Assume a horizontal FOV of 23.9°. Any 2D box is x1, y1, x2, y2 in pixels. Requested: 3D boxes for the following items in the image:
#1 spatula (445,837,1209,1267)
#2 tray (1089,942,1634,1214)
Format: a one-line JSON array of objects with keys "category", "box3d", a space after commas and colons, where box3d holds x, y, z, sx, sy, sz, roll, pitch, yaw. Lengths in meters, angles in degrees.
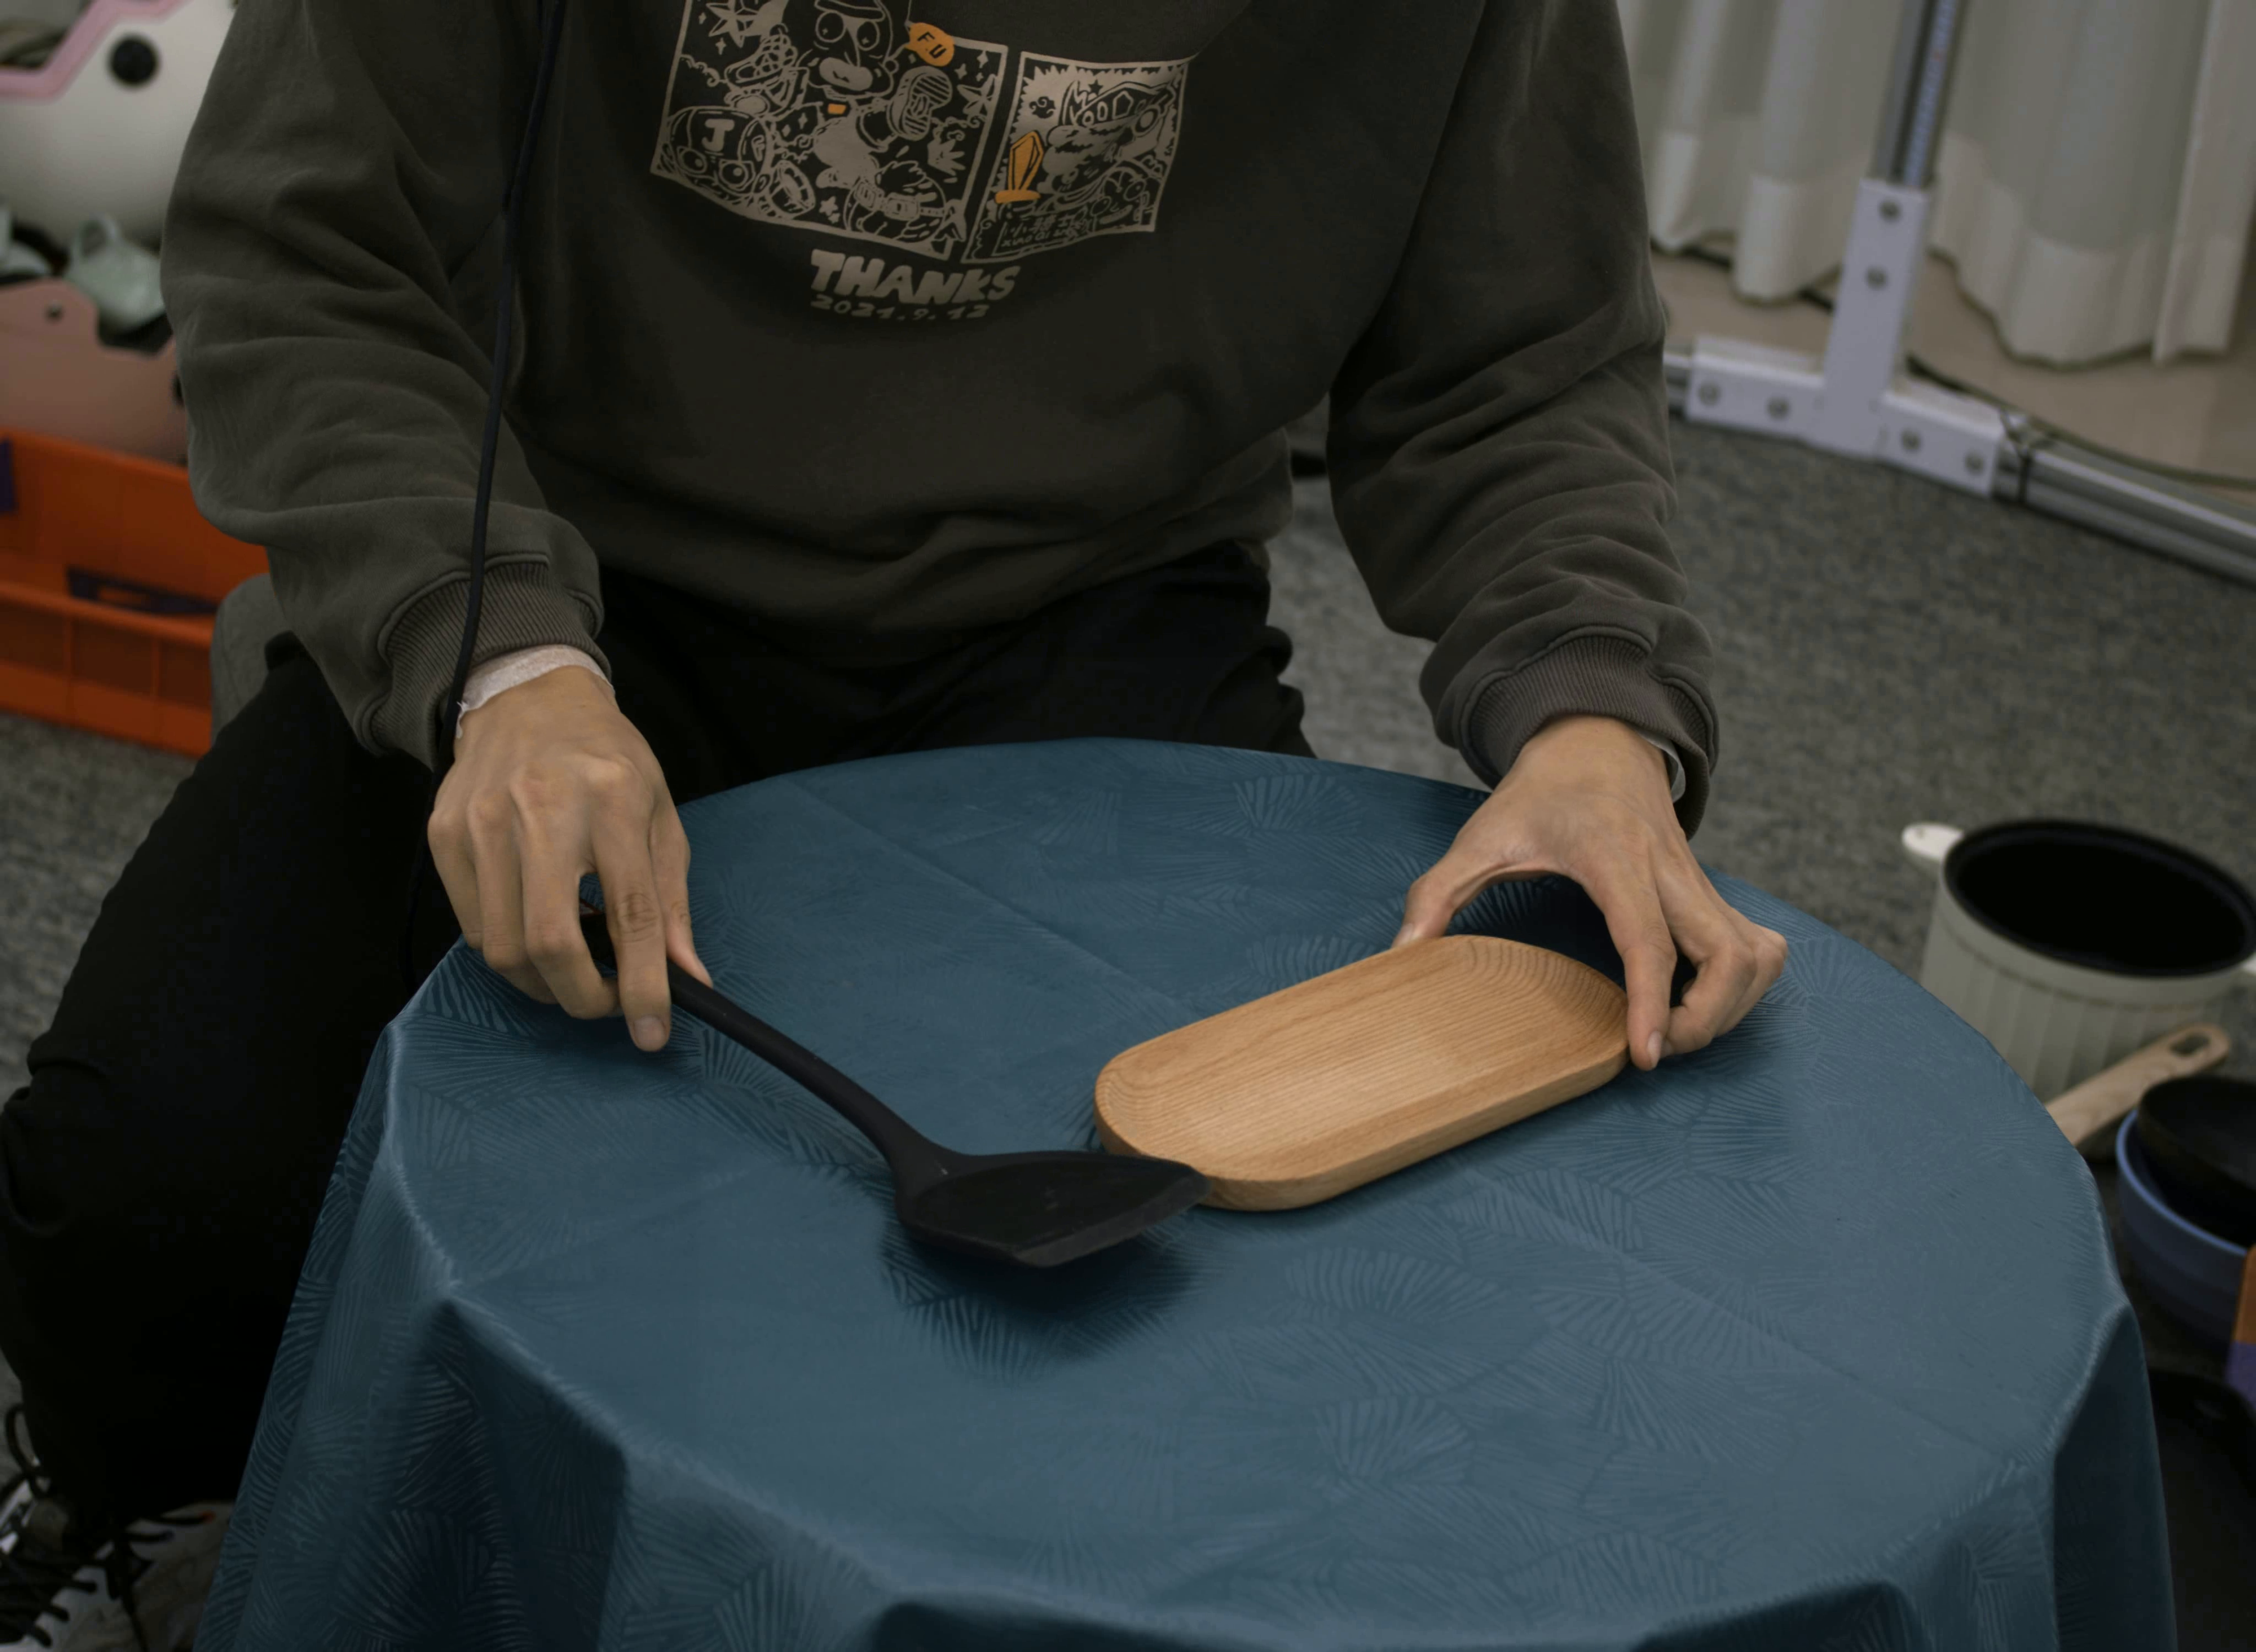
[{"category": "spatula", "box3d": [-0.120, 0.071, 1.820, 0.328, 0.040, 0.099, 33, 31, 30]}, {"category": "tray", "box3d": [0.084, 0.088, 1.876, 0.230, 0.020, 0.102, -19, 35, -39]}]
